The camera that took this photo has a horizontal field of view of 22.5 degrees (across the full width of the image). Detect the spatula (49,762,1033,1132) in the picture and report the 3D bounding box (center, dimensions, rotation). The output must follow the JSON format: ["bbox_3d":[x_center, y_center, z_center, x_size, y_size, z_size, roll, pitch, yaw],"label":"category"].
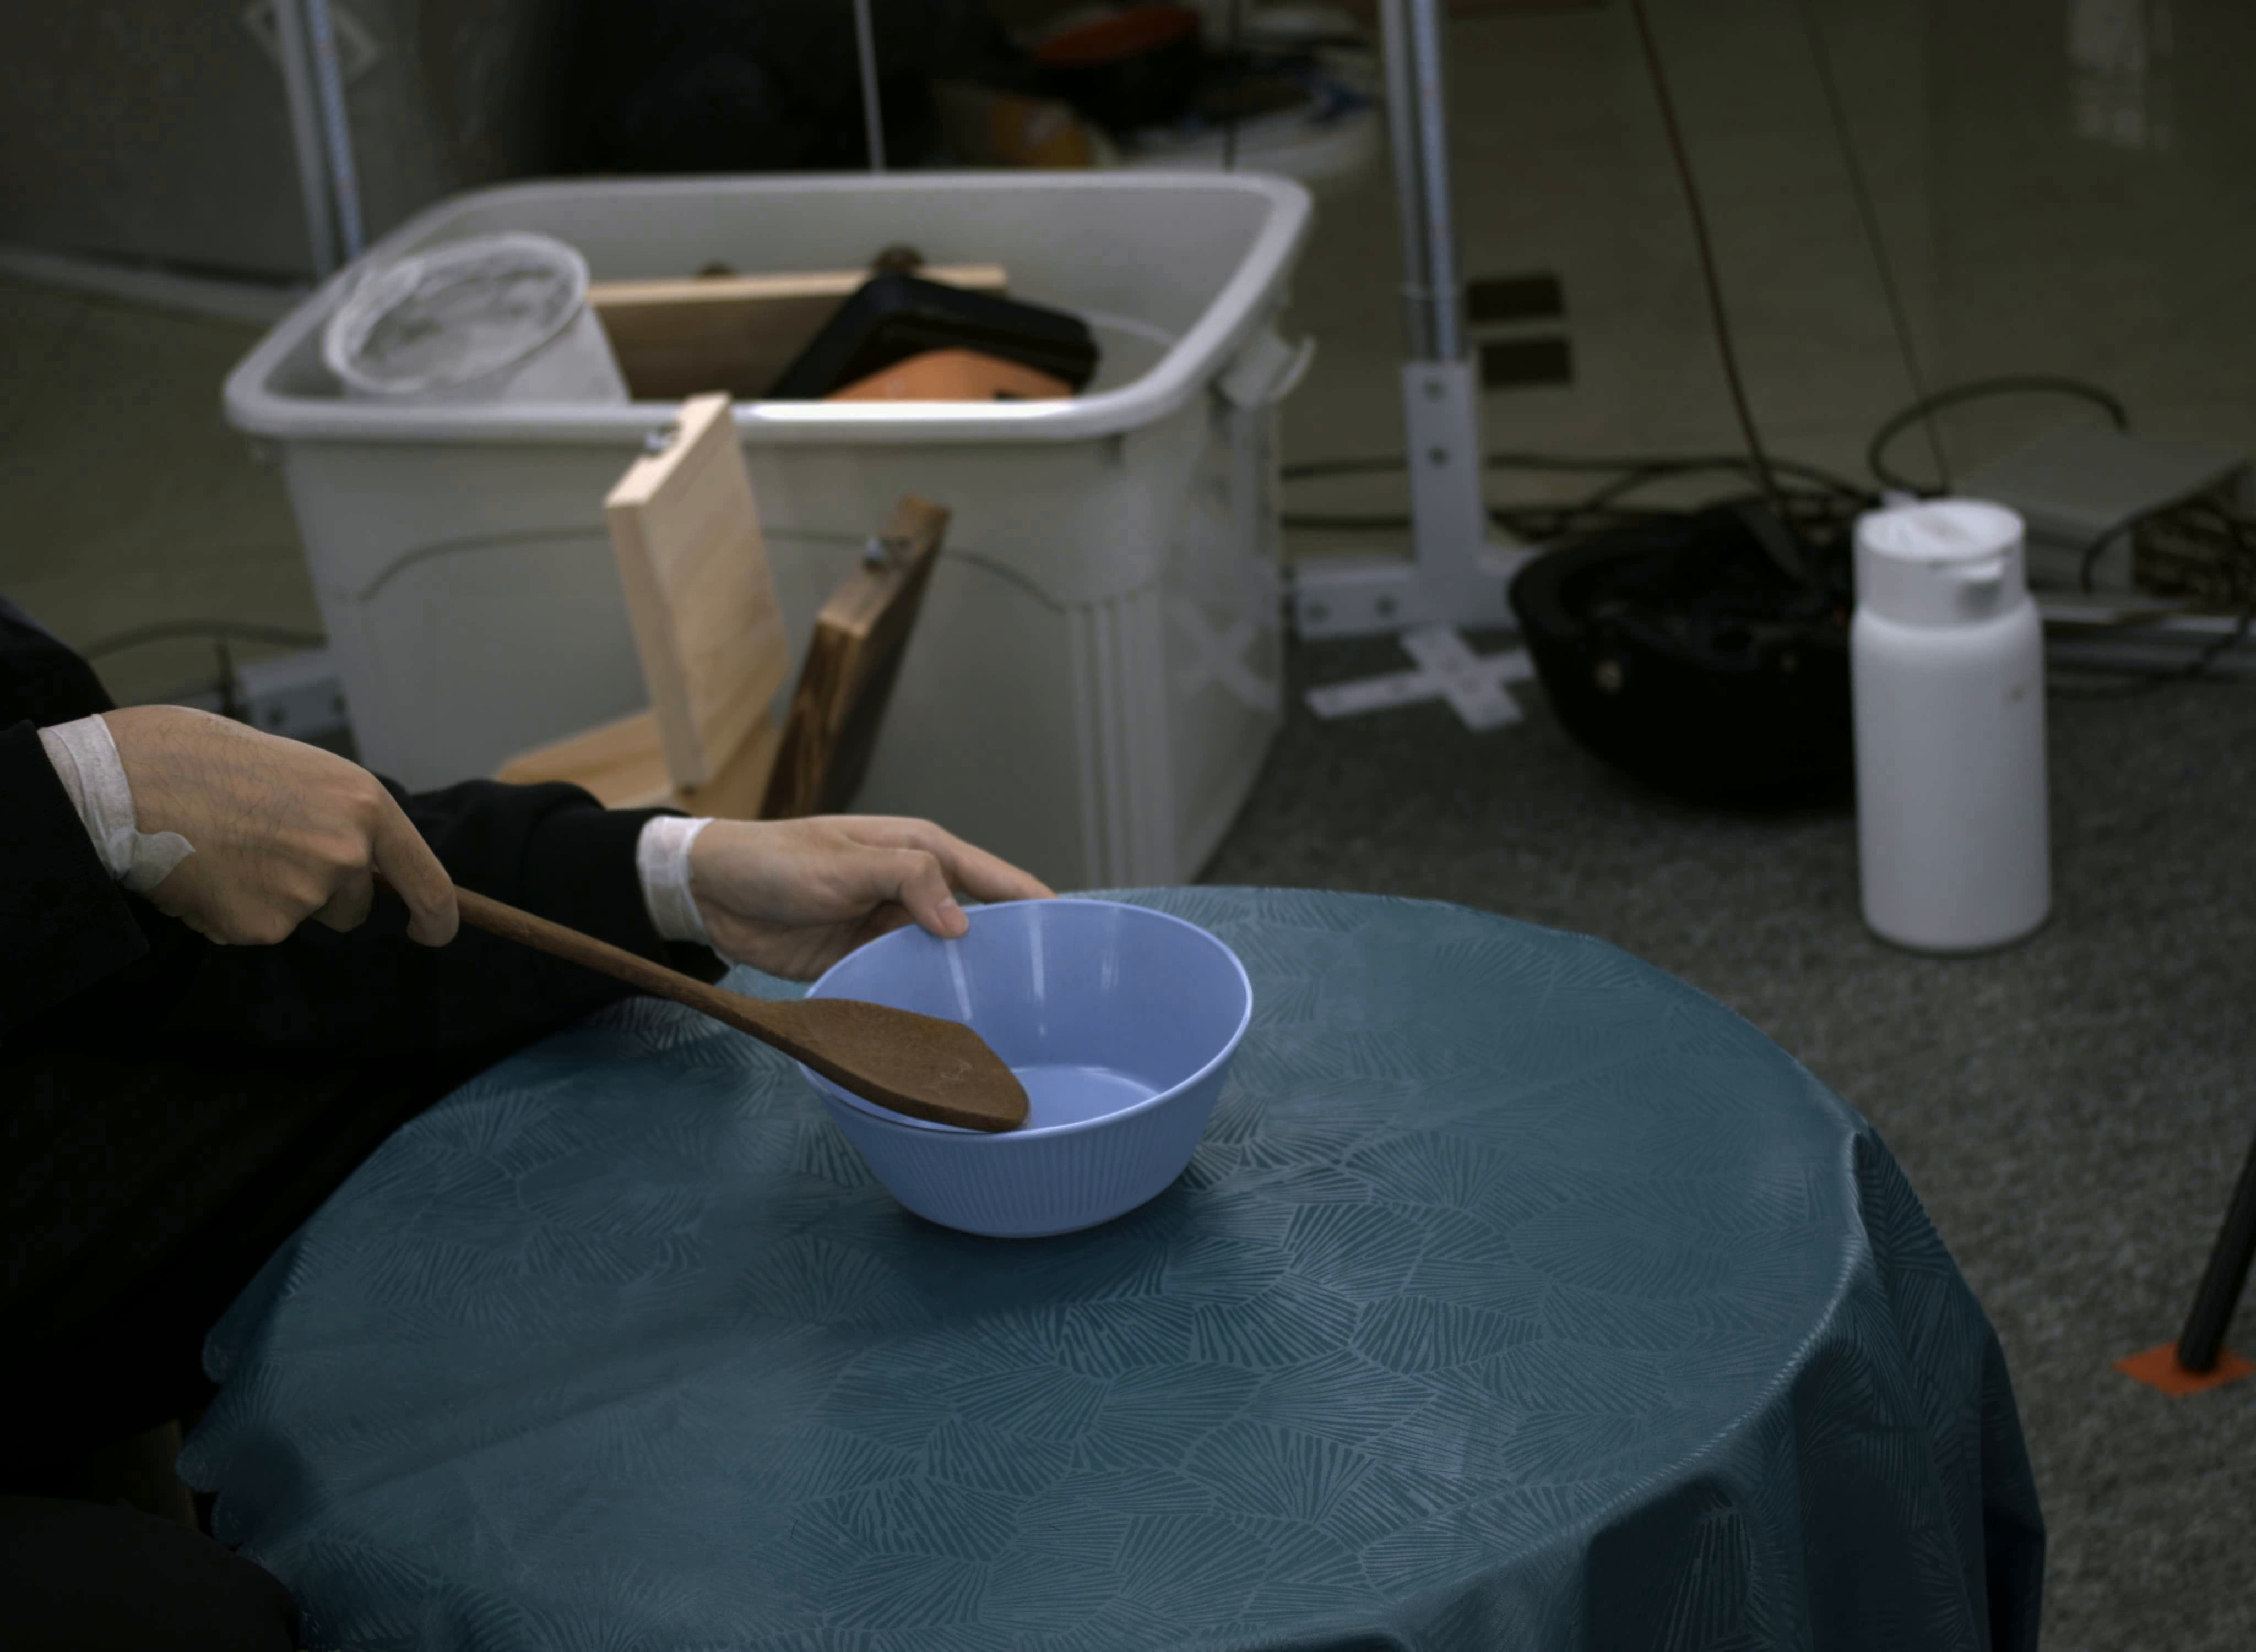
[{"bbox_3d":[-0.205,0.041,2.031,0.388,0.016,0.095,21,15,-25],"label":"spatula"}]

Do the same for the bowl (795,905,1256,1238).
[{"bbox_3d":[-0.035,0.100,2.154,0.176,0.071,0.173,-5,27,3],"label":"bowl"}]
